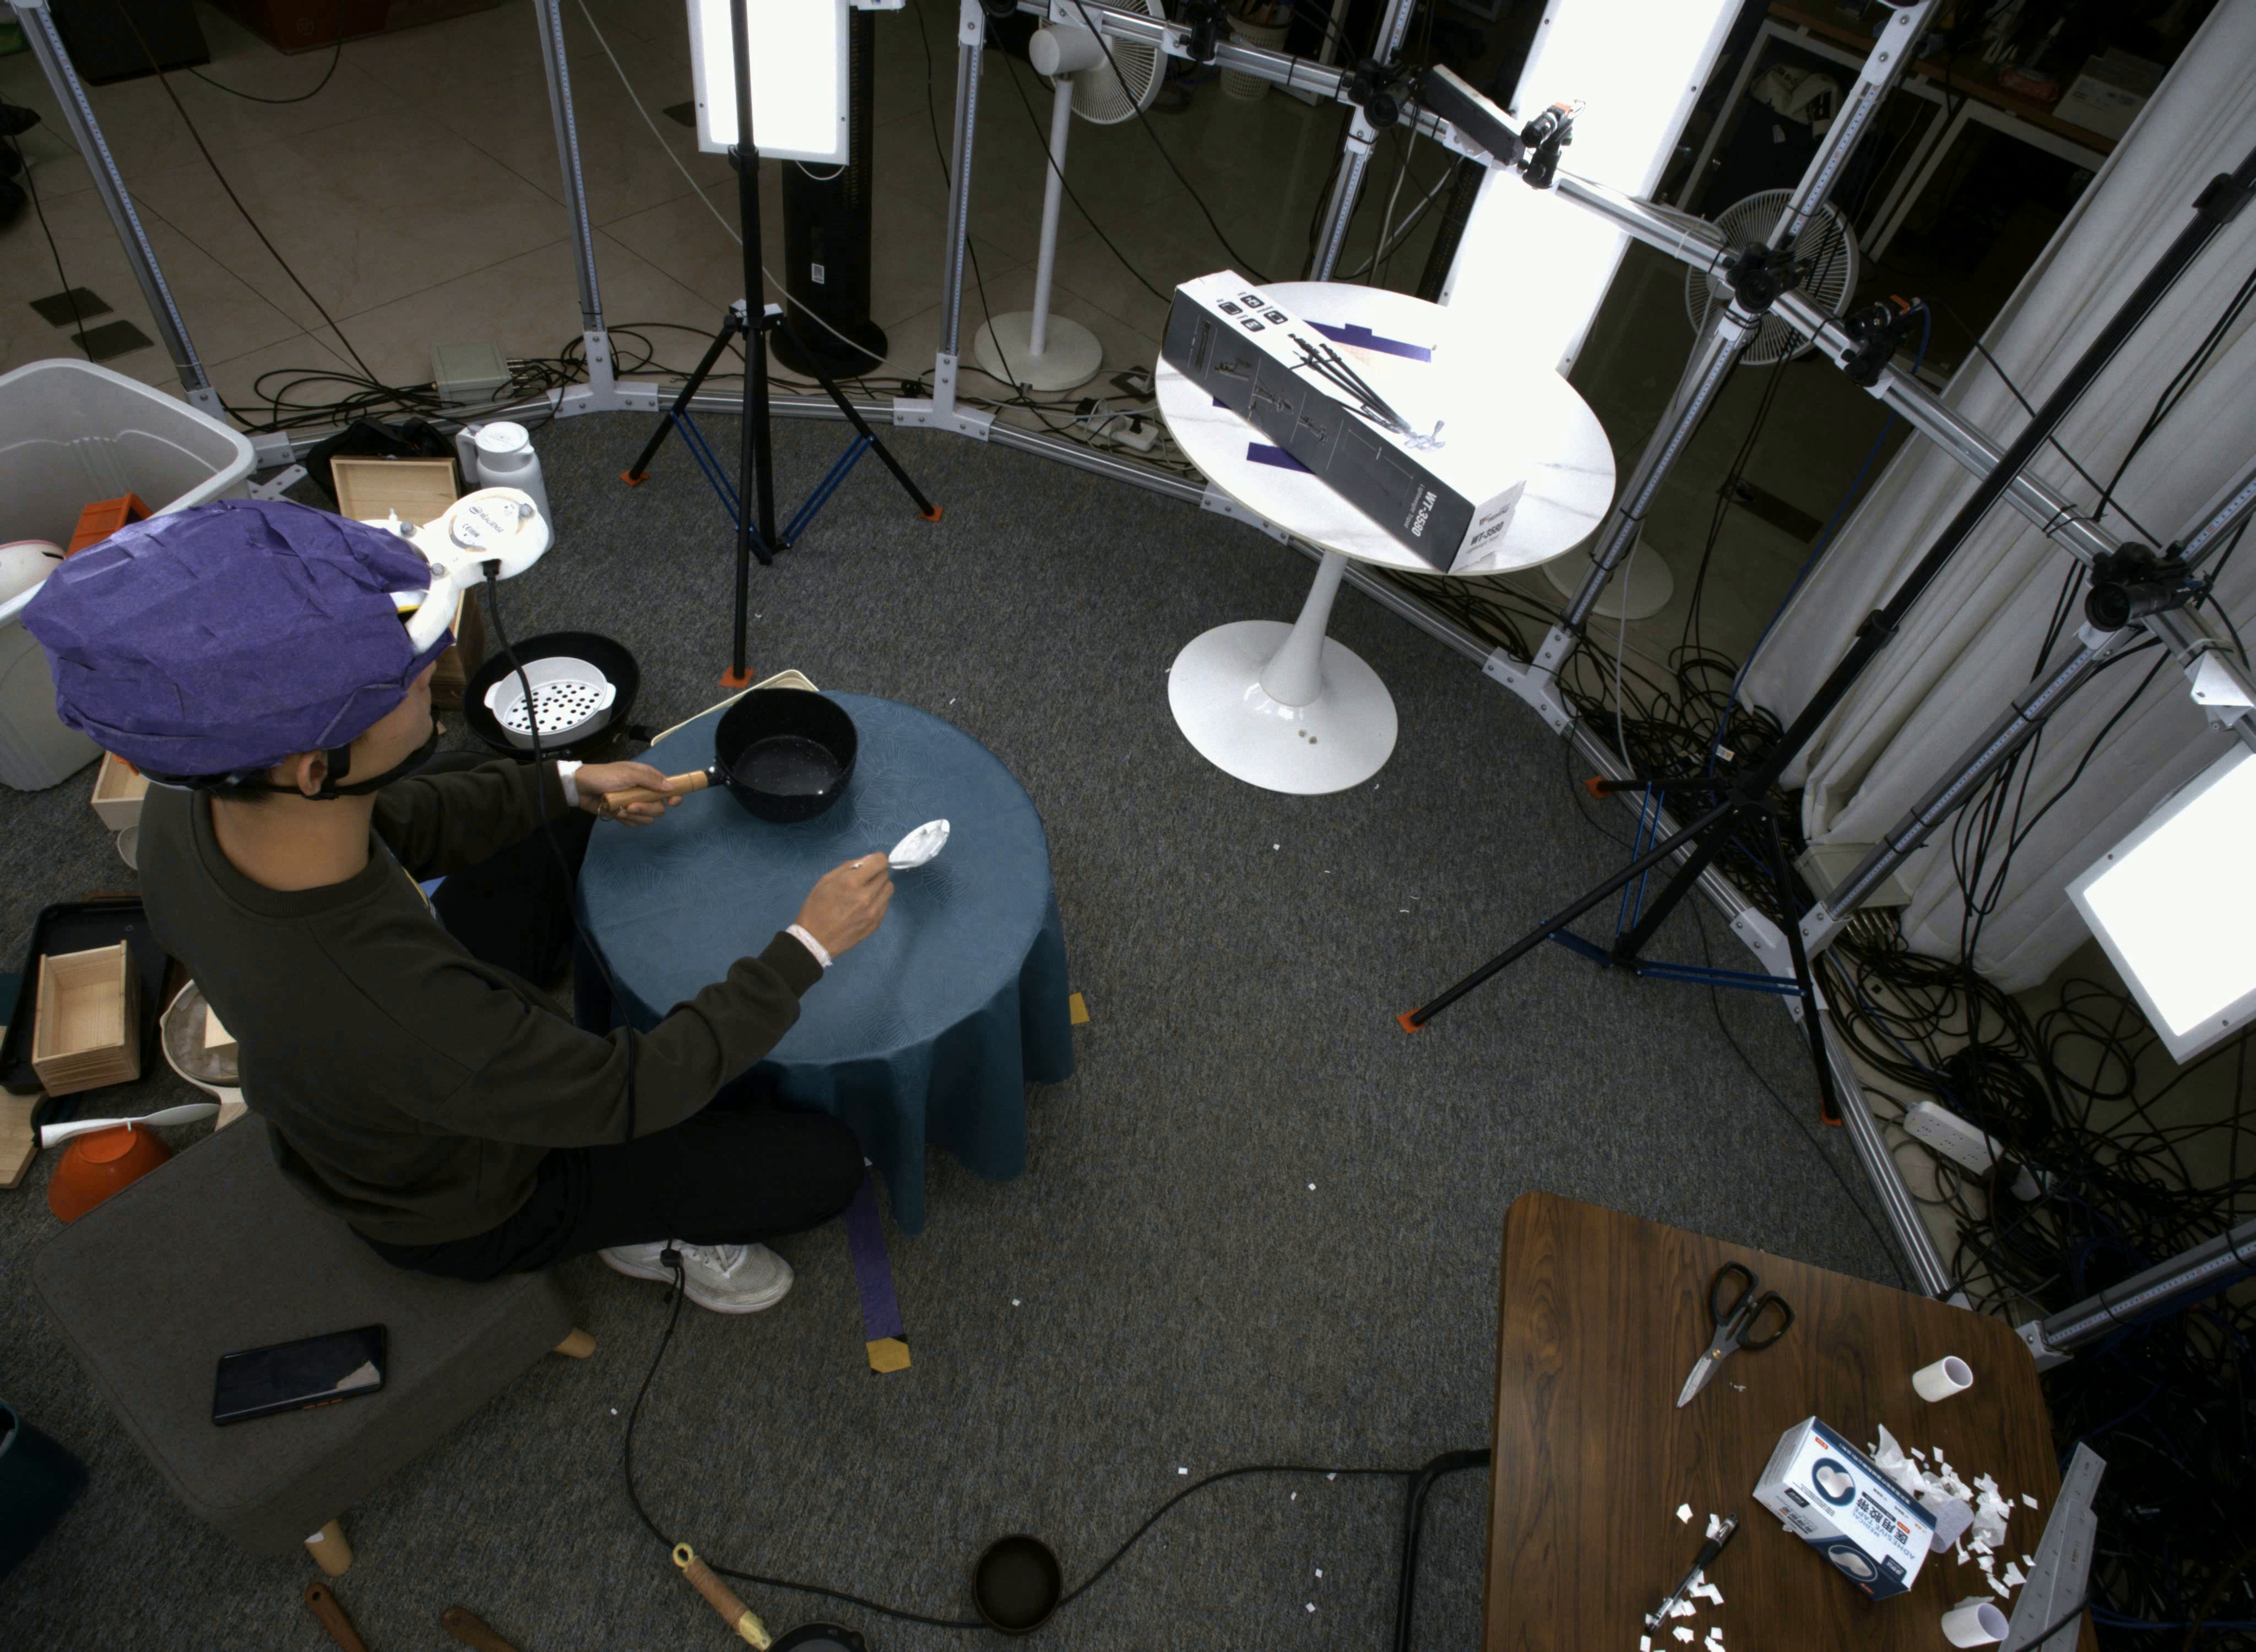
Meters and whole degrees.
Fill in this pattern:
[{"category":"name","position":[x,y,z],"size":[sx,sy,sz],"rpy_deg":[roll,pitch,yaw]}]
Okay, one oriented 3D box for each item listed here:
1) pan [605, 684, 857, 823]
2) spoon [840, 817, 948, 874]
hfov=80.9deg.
[{"category":"pan","position":[-0.517,-0.067,1.686],"size":[0.344,0.110,0.203],"rpy_deg":[-27,67,-32]},{"category":"spoon","position":[-0.298,0.024,1.582],"size":[0.099,0.280,0.059],"rpy_deg":[-29,84,13]}]
